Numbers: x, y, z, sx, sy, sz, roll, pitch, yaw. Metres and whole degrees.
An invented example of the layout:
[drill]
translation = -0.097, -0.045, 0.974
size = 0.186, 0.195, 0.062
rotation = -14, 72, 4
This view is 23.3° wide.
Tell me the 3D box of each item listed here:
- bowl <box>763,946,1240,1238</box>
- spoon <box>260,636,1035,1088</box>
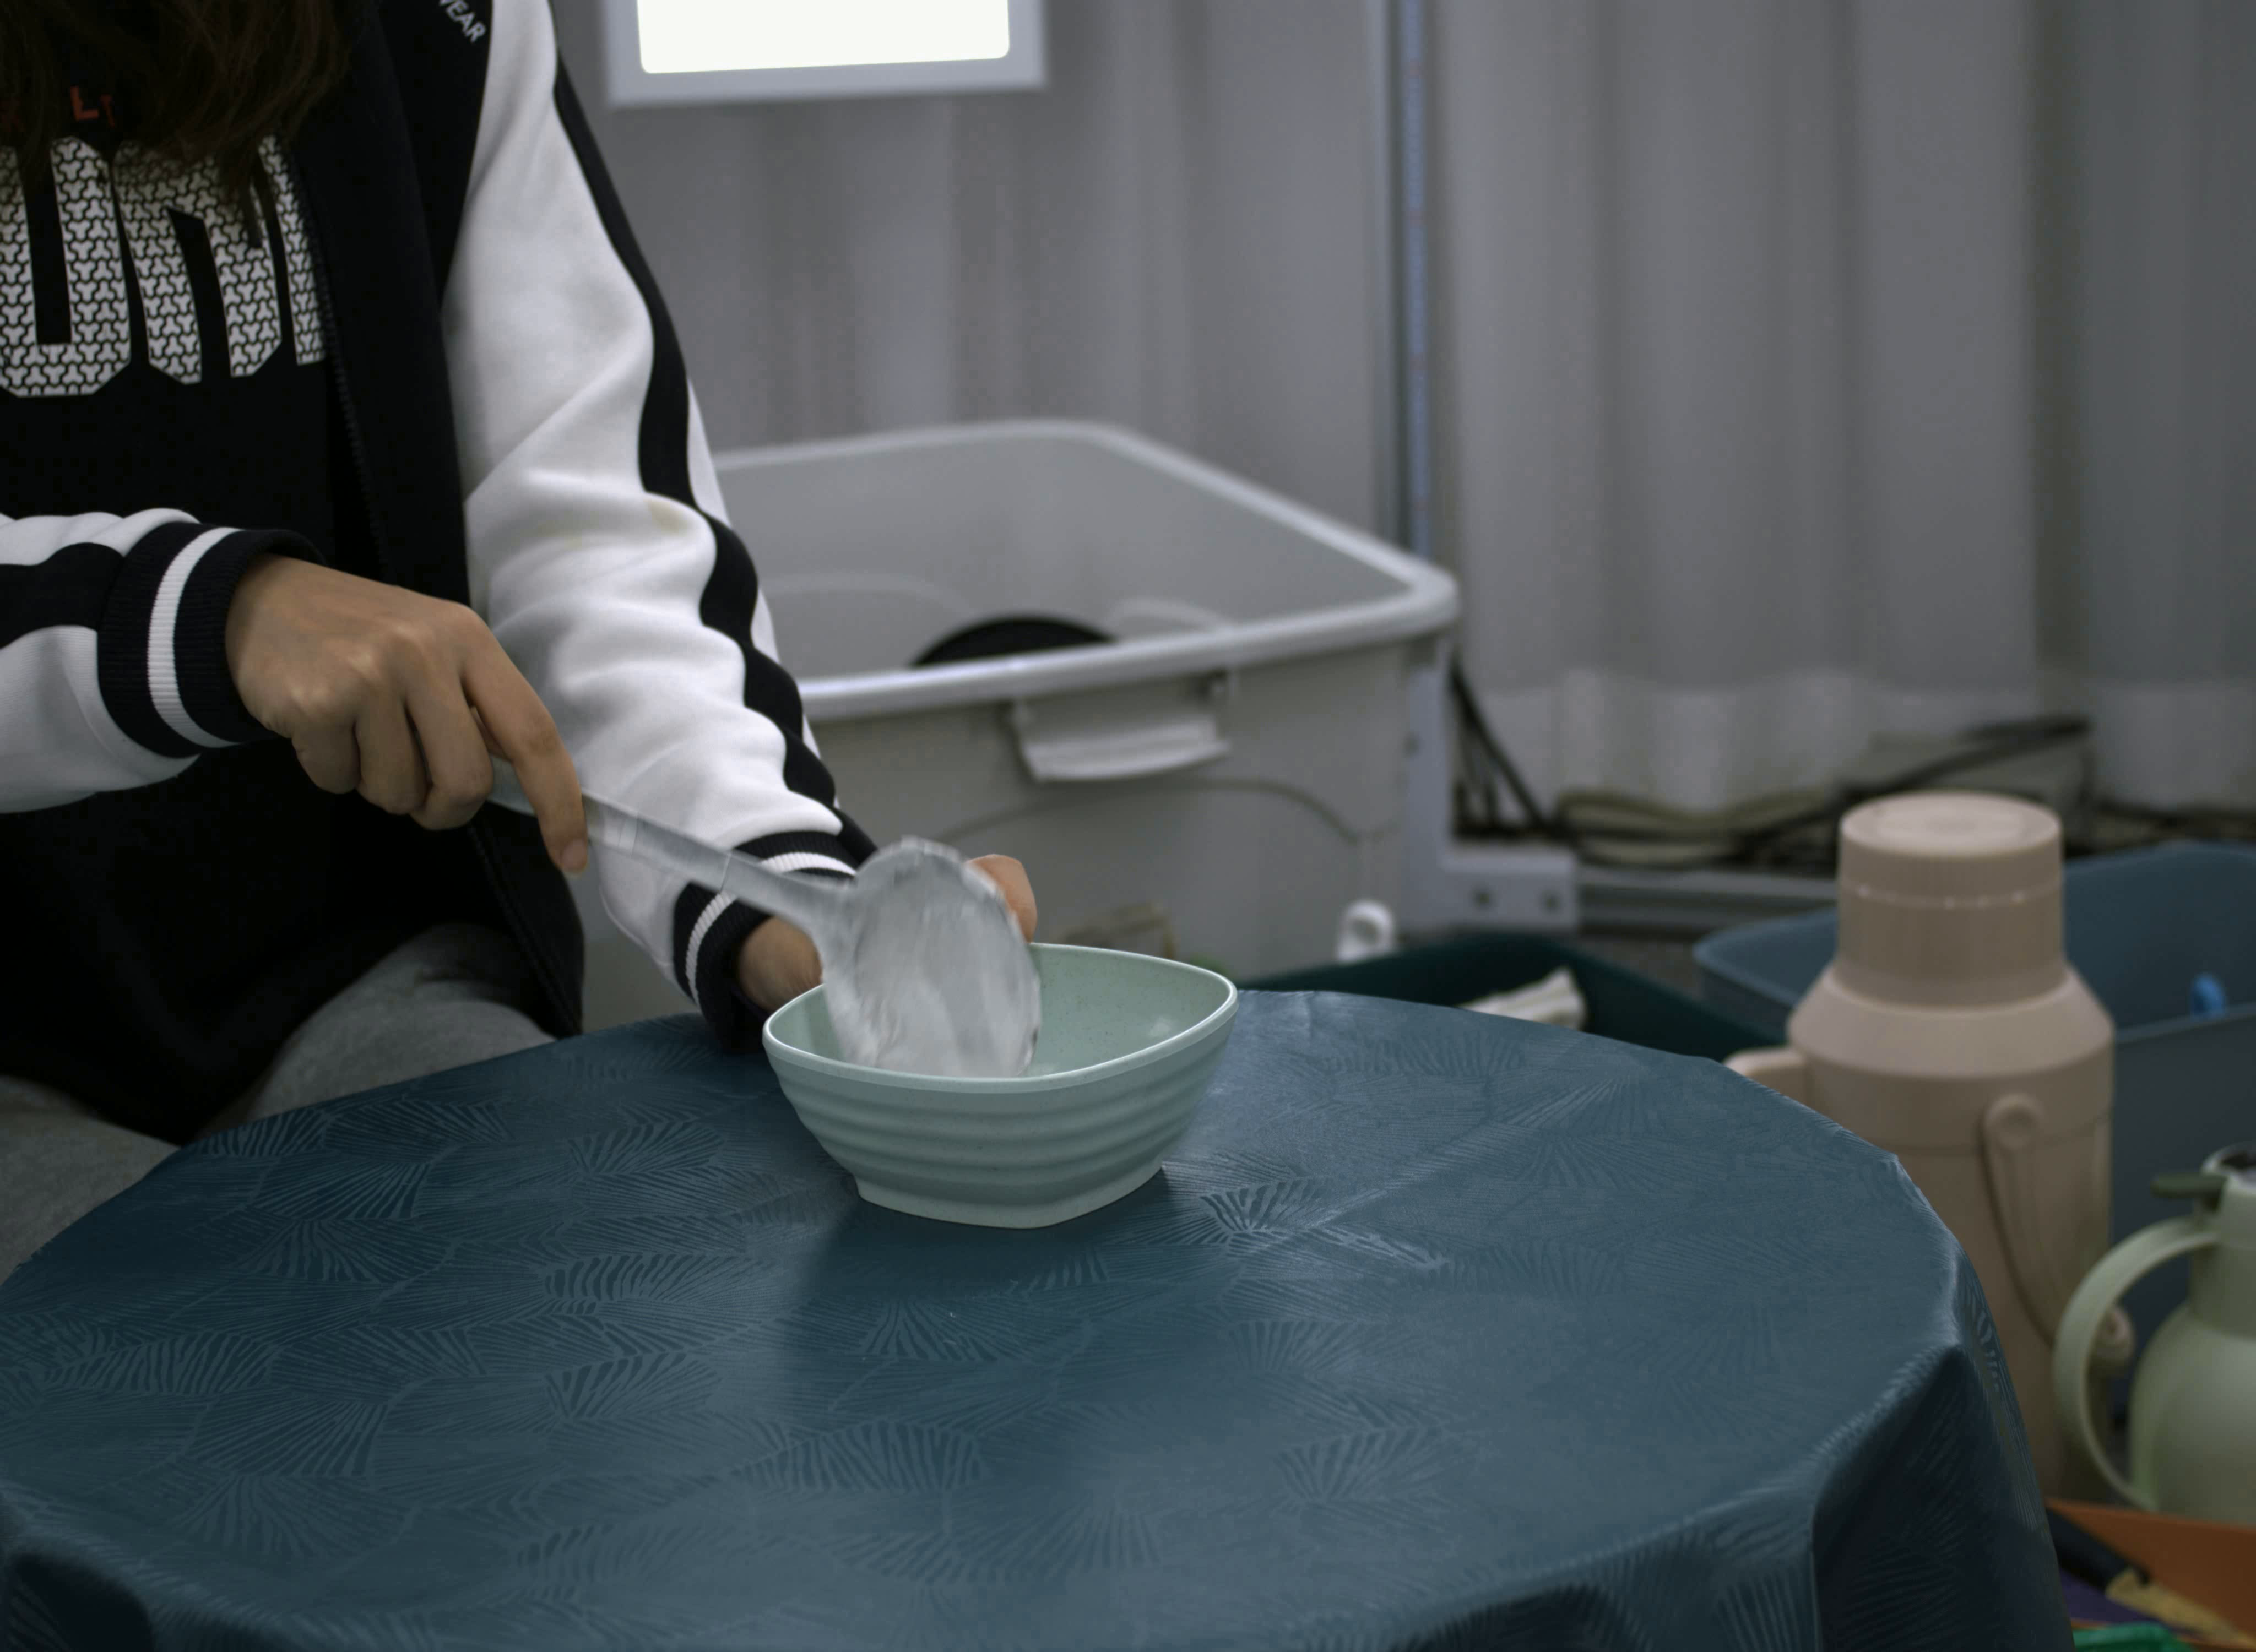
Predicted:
[bowl]
translation = -0.038, 0.087, 1.724
size = 0.151, 0.058, 0.152
rotation = -3, 15, 1
[spoon]
translation = -0.152, 0.009, 1.701
size = 0.277, 0.100, 0.060
rotation = 26, 21, 2
